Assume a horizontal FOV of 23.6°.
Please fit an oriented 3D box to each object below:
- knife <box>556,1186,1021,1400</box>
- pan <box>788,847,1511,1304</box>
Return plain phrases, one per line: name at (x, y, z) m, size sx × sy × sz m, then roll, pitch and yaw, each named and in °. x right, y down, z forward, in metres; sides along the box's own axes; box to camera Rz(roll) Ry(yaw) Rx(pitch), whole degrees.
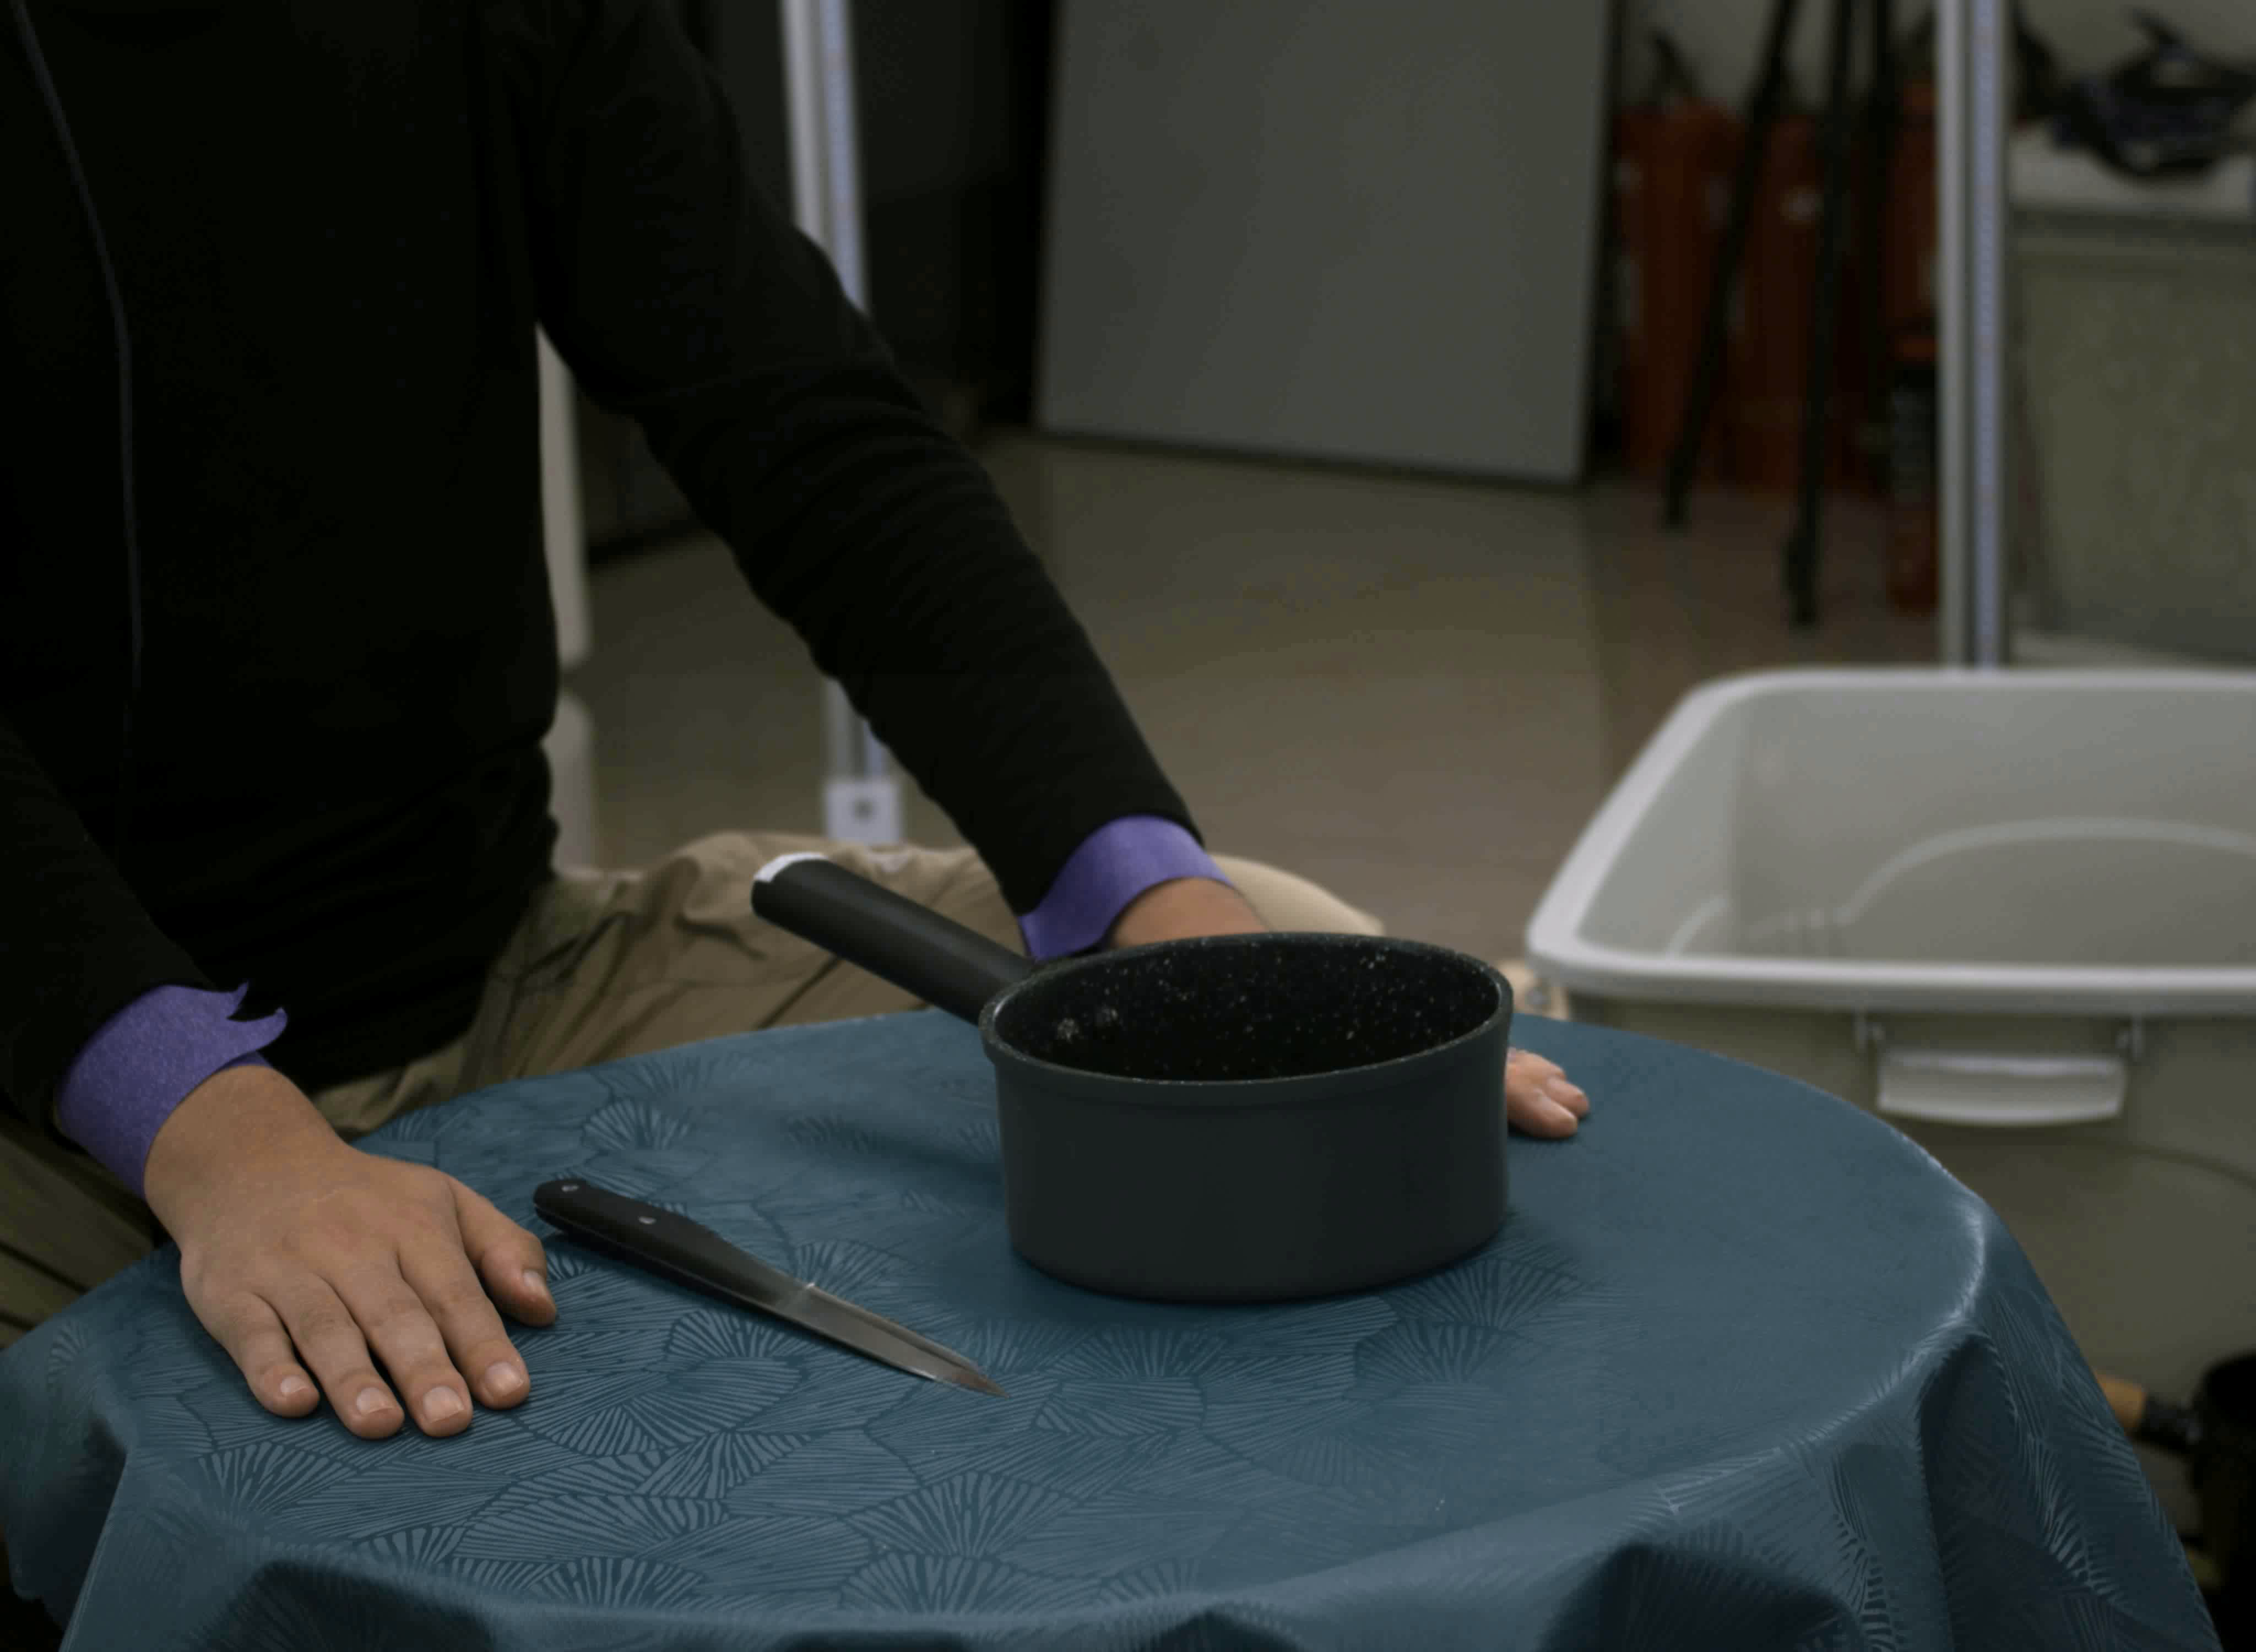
knife at (-0.109, 0.147, 1.682) m, size 0.024 × 0.016 × 0.240 m, roll -13°, pitch 19°, yaw -37°
pan at (-0.009, 0.077, 1.781) m, size 0.168 × 0.087 × 0.332 m, roll -14°, pitch 17°, yaw -35°
